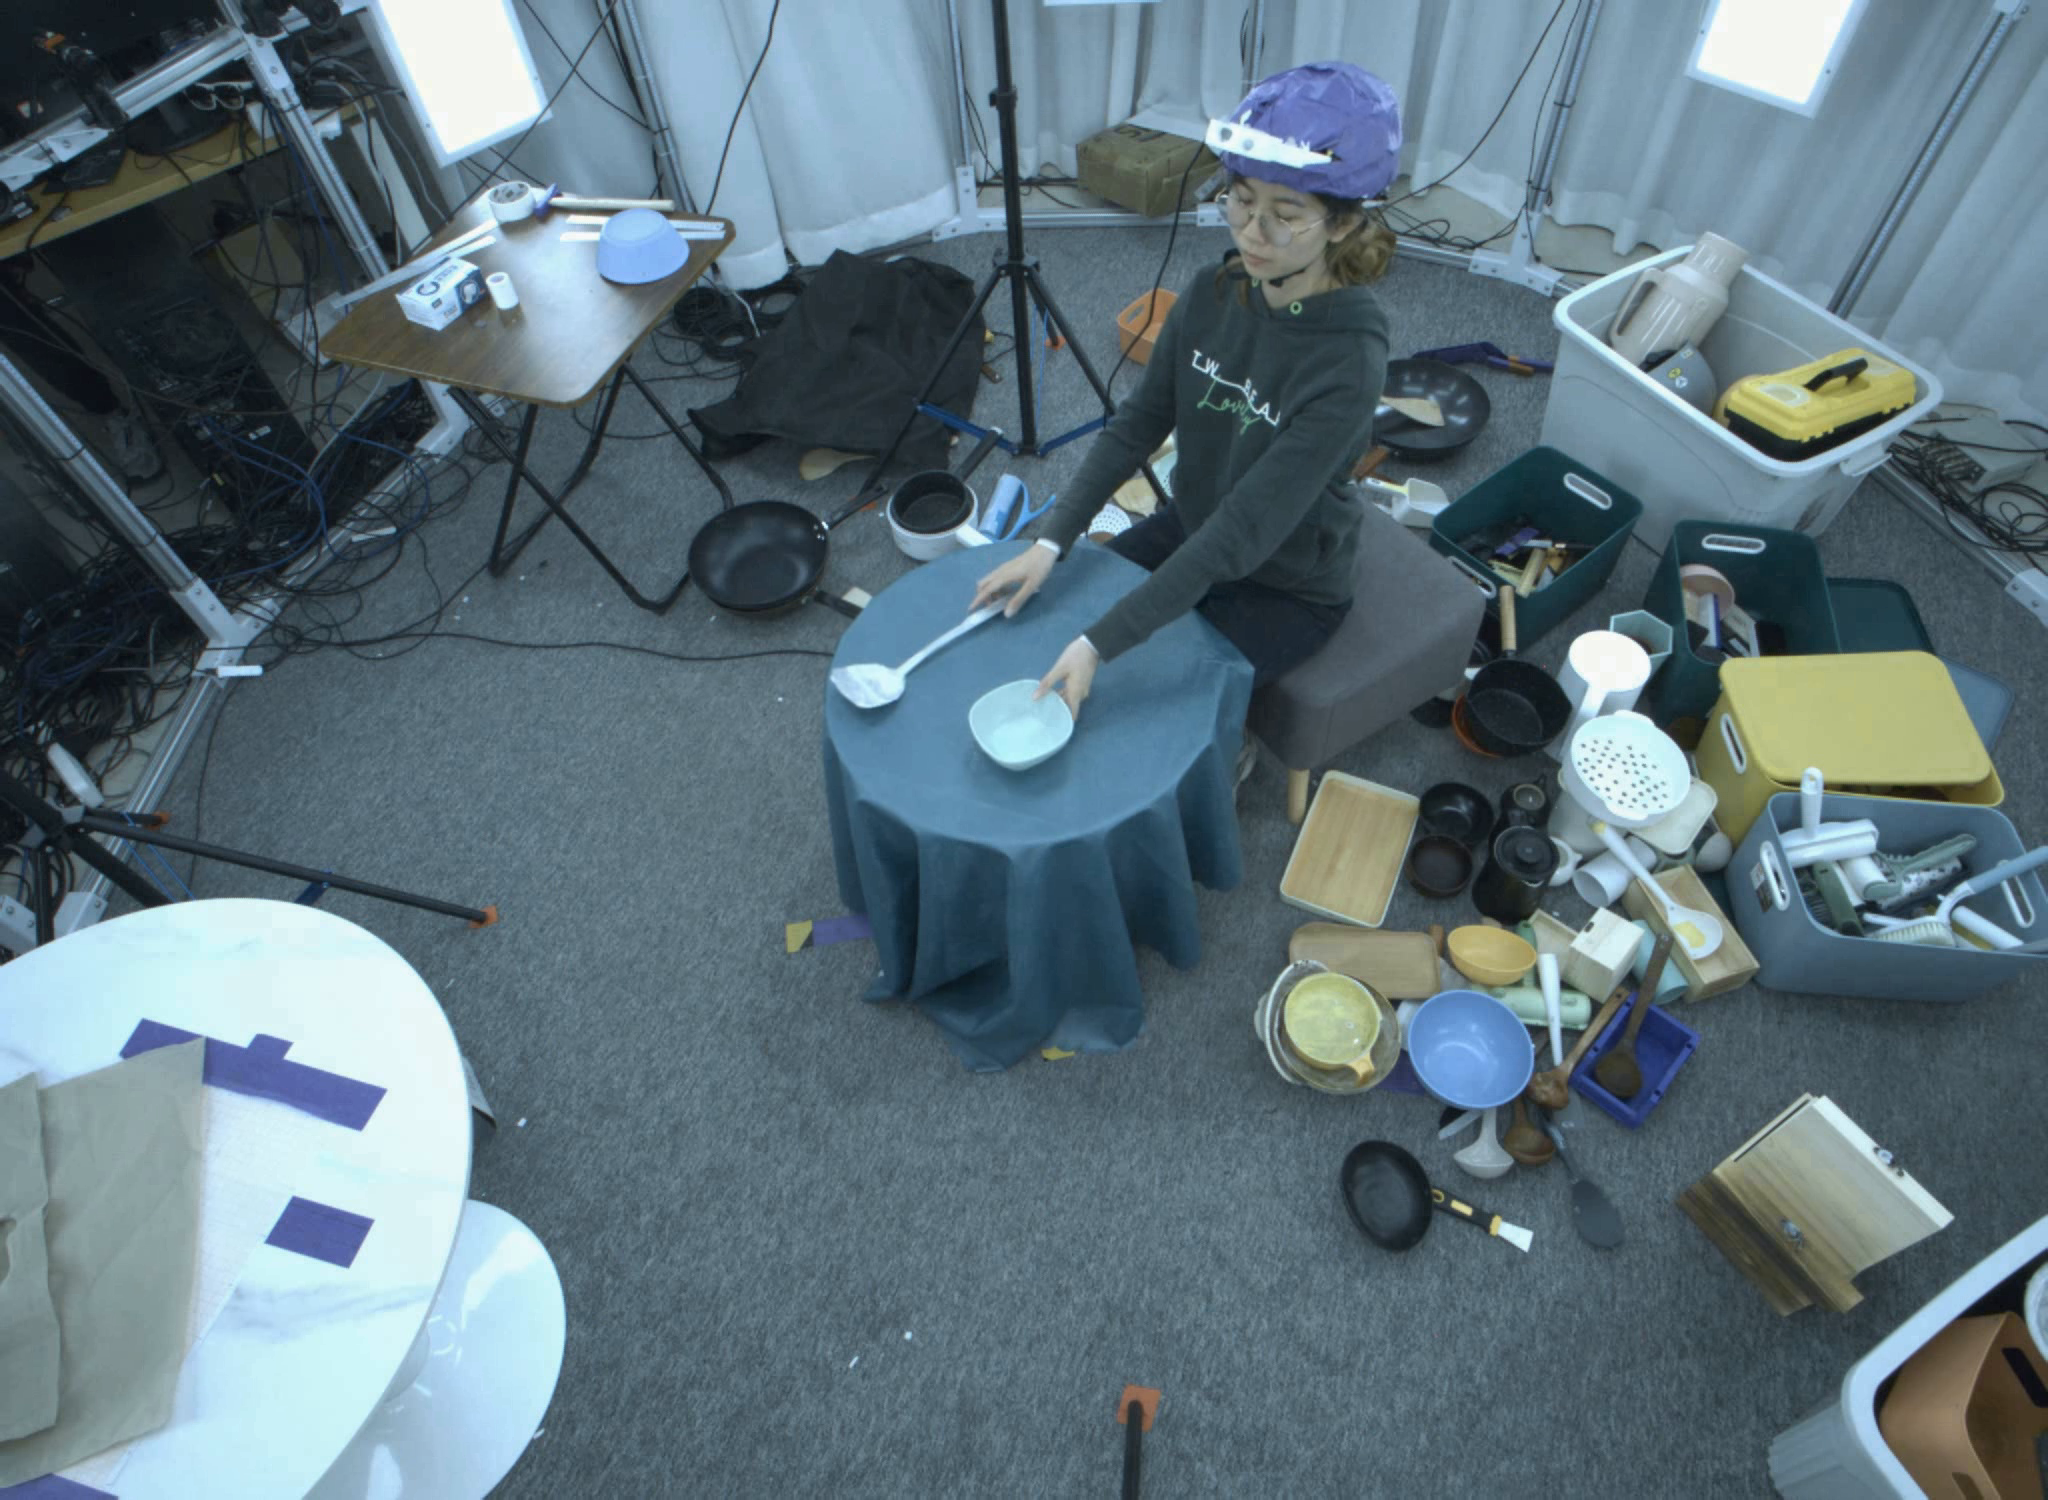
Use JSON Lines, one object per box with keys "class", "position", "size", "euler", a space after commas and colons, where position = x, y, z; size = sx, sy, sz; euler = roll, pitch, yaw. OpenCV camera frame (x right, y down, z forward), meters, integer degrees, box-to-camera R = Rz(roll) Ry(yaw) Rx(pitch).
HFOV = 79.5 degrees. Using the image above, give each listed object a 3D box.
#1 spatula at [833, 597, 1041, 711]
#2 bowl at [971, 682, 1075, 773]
{"class": "spatula", "position": [-0.125, -0.163, 1.892], "size": [0.368, 0.045, 0.097], "euler": [-34, 58, -20]}
{"class": "bowl", "position": [0.000, -0.022, 1.780], "size": [0.151, 0.059, 0.150], "euler": [0, 57, 1]}
